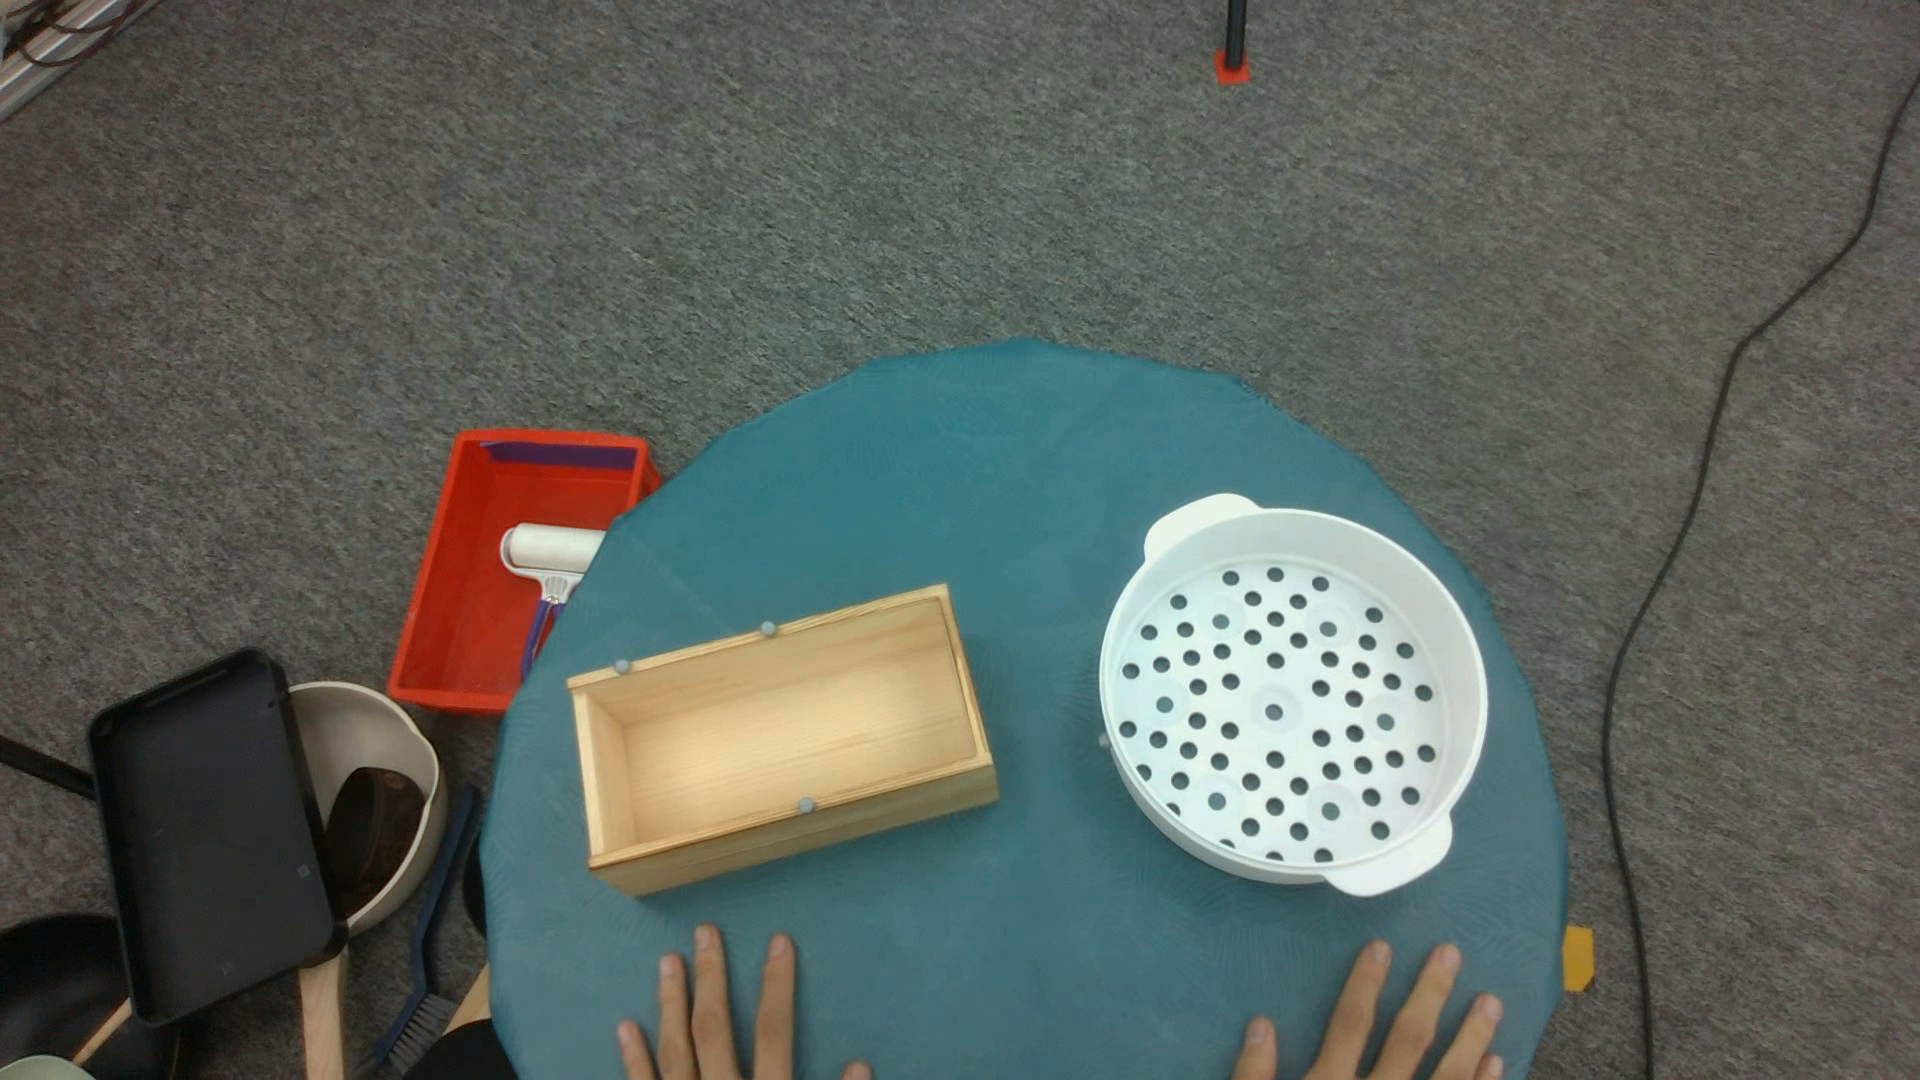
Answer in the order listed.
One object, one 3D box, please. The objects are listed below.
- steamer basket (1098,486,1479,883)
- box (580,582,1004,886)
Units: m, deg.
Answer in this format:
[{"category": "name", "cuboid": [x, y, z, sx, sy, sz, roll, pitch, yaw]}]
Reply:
[{"category": "steamer basket", "cuboid": [0.178, 0.081, 0.767, 0.202, 0.069, 0.231, -24, 67, -5]}, {"category": "box", "cuboid": [-0.091, 0.110, 0.769, 0.211, 0.080, 0.108, -15, 66, -2]}]
